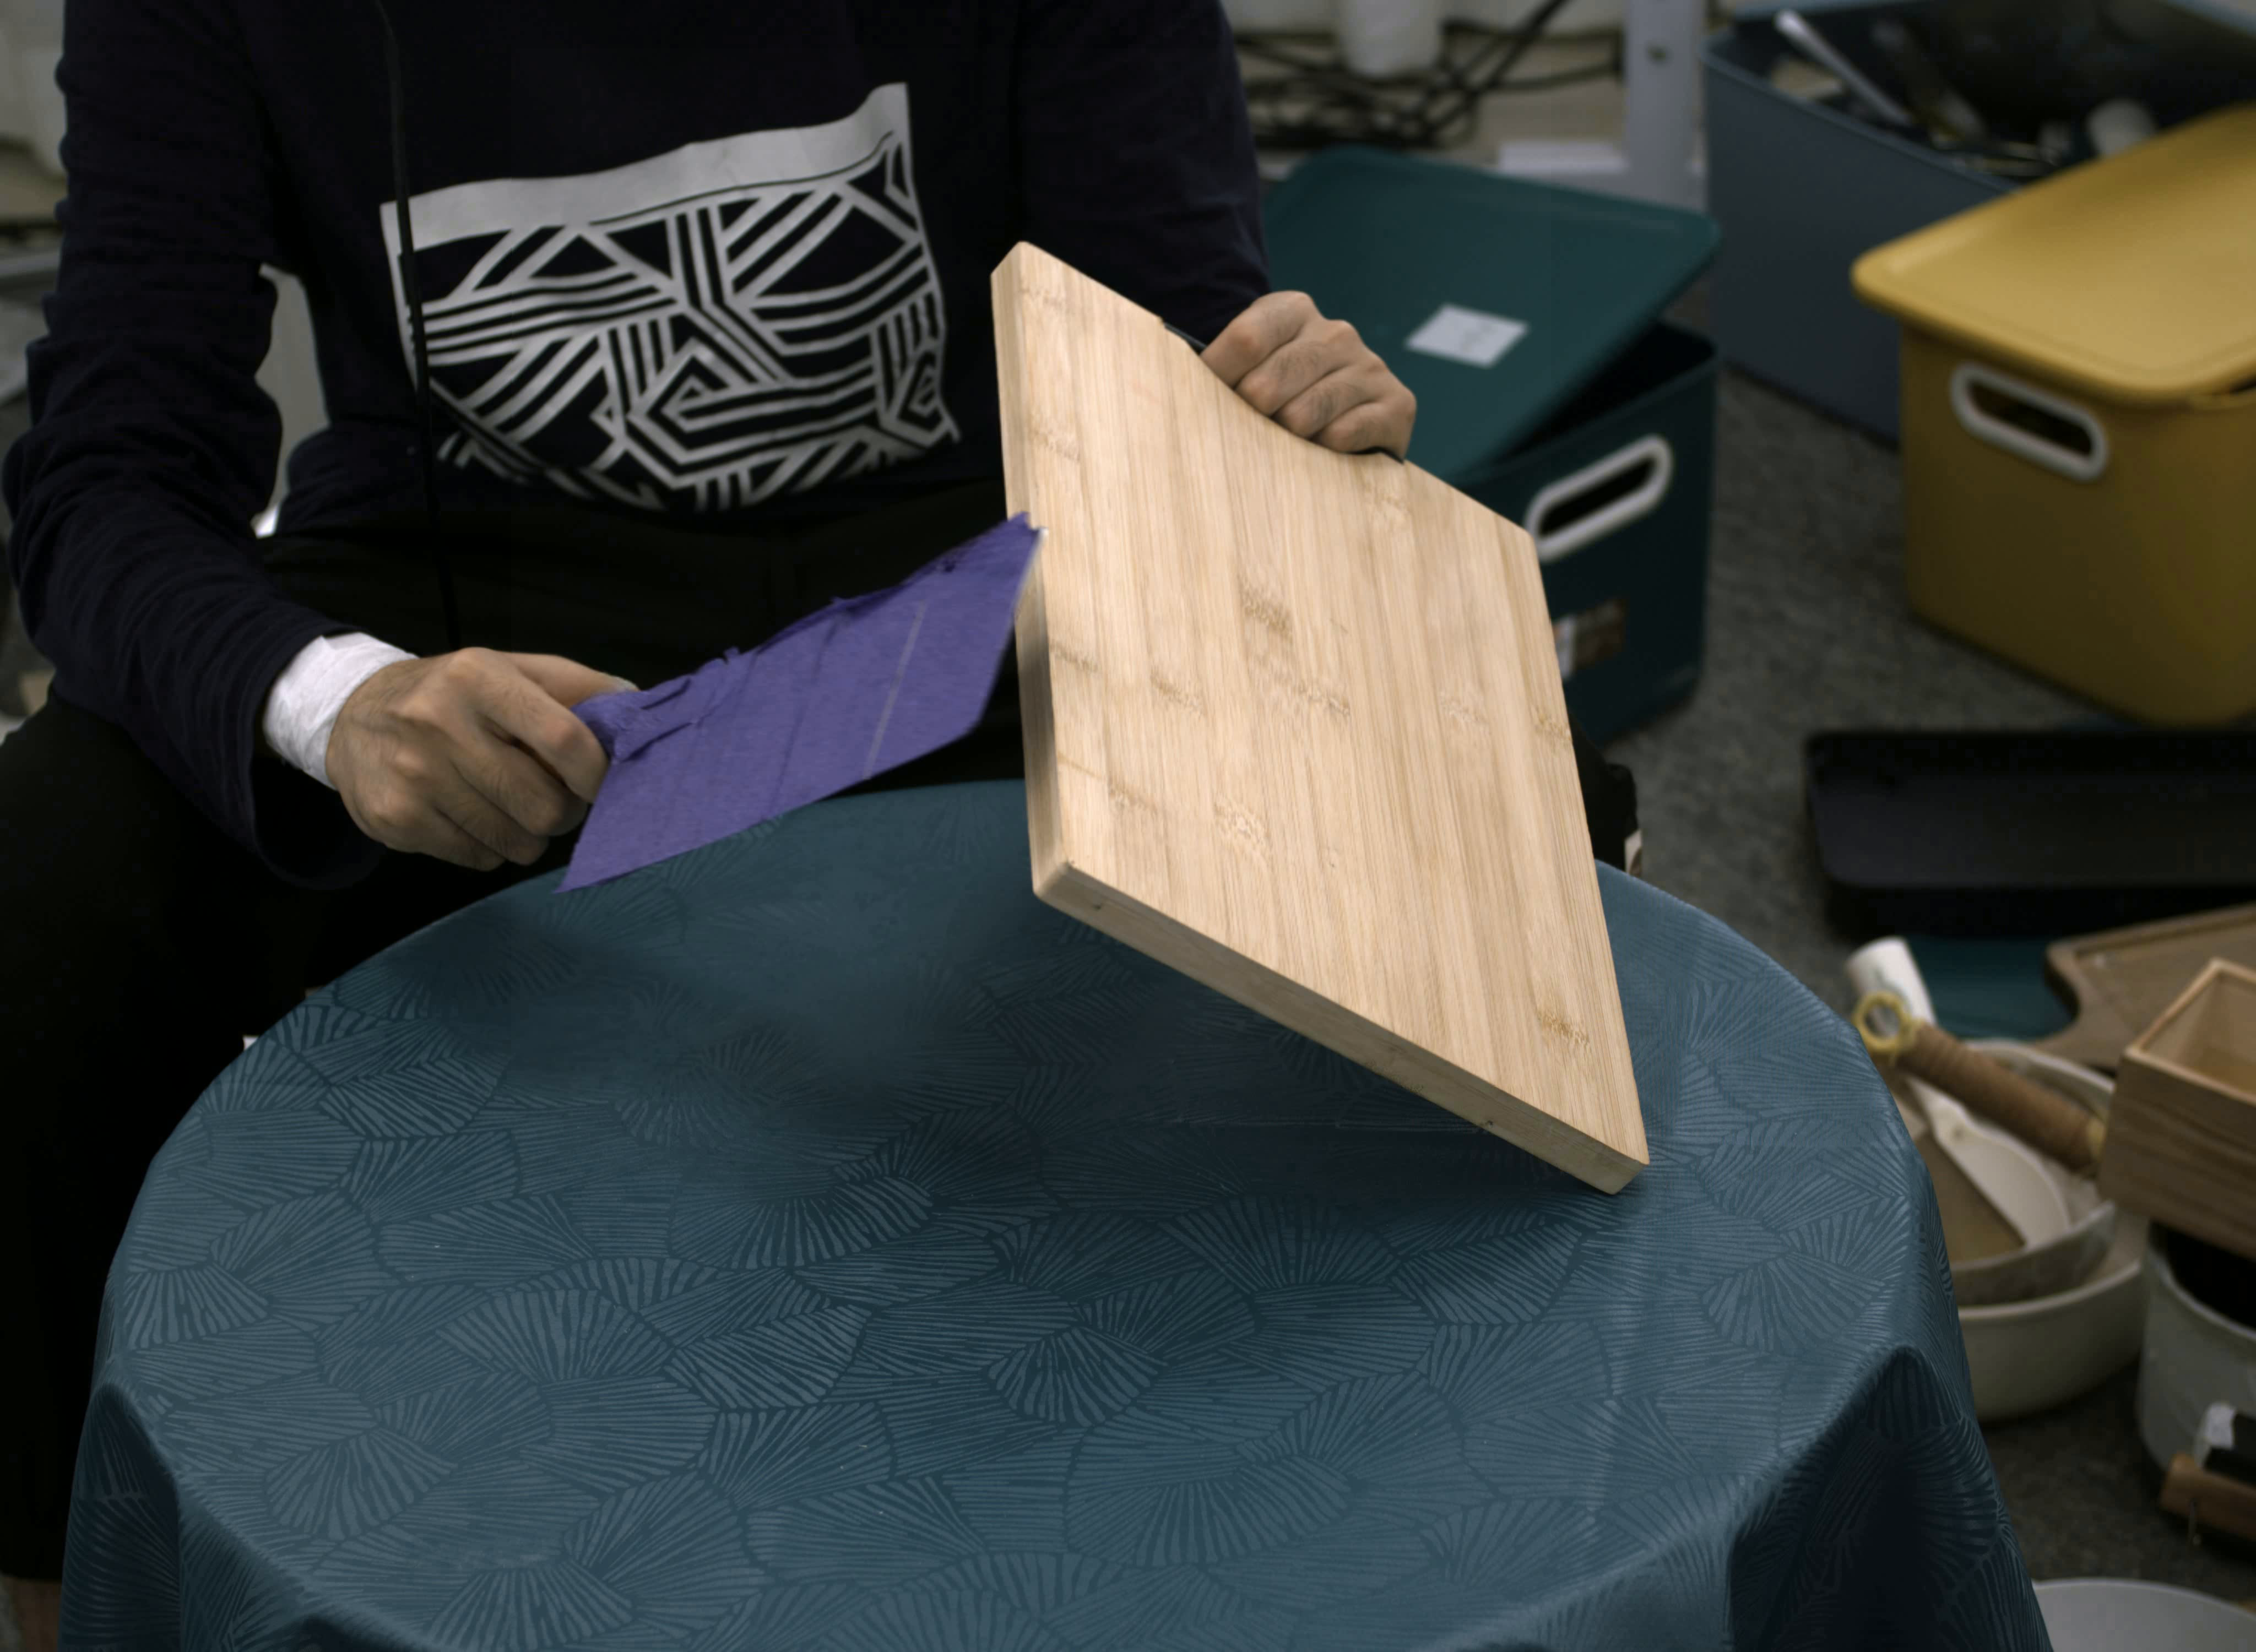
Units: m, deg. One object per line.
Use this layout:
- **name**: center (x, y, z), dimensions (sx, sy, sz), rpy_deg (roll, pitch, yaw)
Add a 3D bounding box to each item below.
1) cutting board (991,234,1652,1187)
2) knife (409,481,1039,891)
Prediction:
- **cutting board**: center (0.060, -0.046, 1.929), dimensions (0.250, 0.023, 0.355), rpy_deg (28, 32, -25)
- **knife**: center (-0.148, -0.028, 1.874), dimensions (0.310, 0.032, 0.106), rpy_deg (-25, 34, 42)
